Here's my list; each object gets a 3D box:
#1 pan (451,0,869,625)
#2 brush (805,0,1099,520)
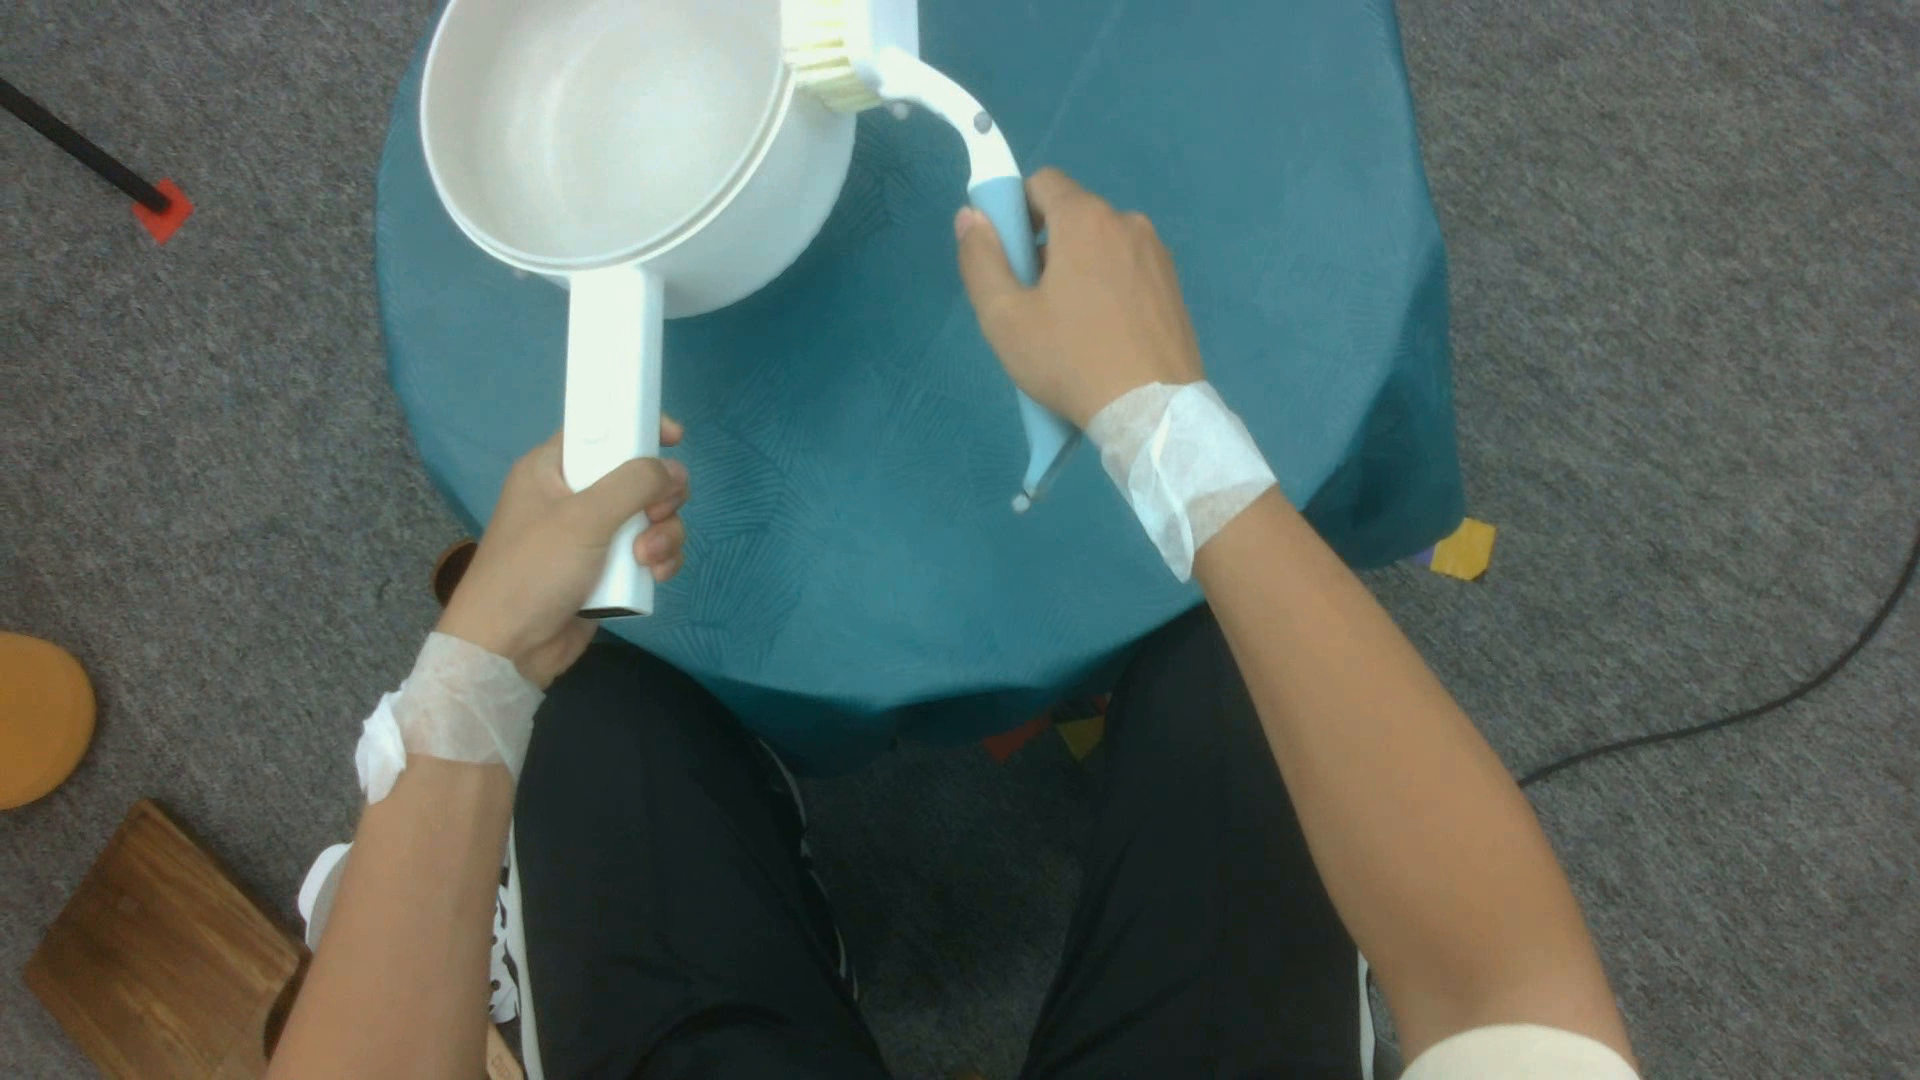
[{"bbox_3d":[-0.144,-0.132,0.687,0.201,0.102,0.355,-5,78,18],"label":"pan"},{"bbox_3d":[-0.022,-0.159,0.625,0.083,0.084,0.326,-7,79,-35],"label":"brush"}]
